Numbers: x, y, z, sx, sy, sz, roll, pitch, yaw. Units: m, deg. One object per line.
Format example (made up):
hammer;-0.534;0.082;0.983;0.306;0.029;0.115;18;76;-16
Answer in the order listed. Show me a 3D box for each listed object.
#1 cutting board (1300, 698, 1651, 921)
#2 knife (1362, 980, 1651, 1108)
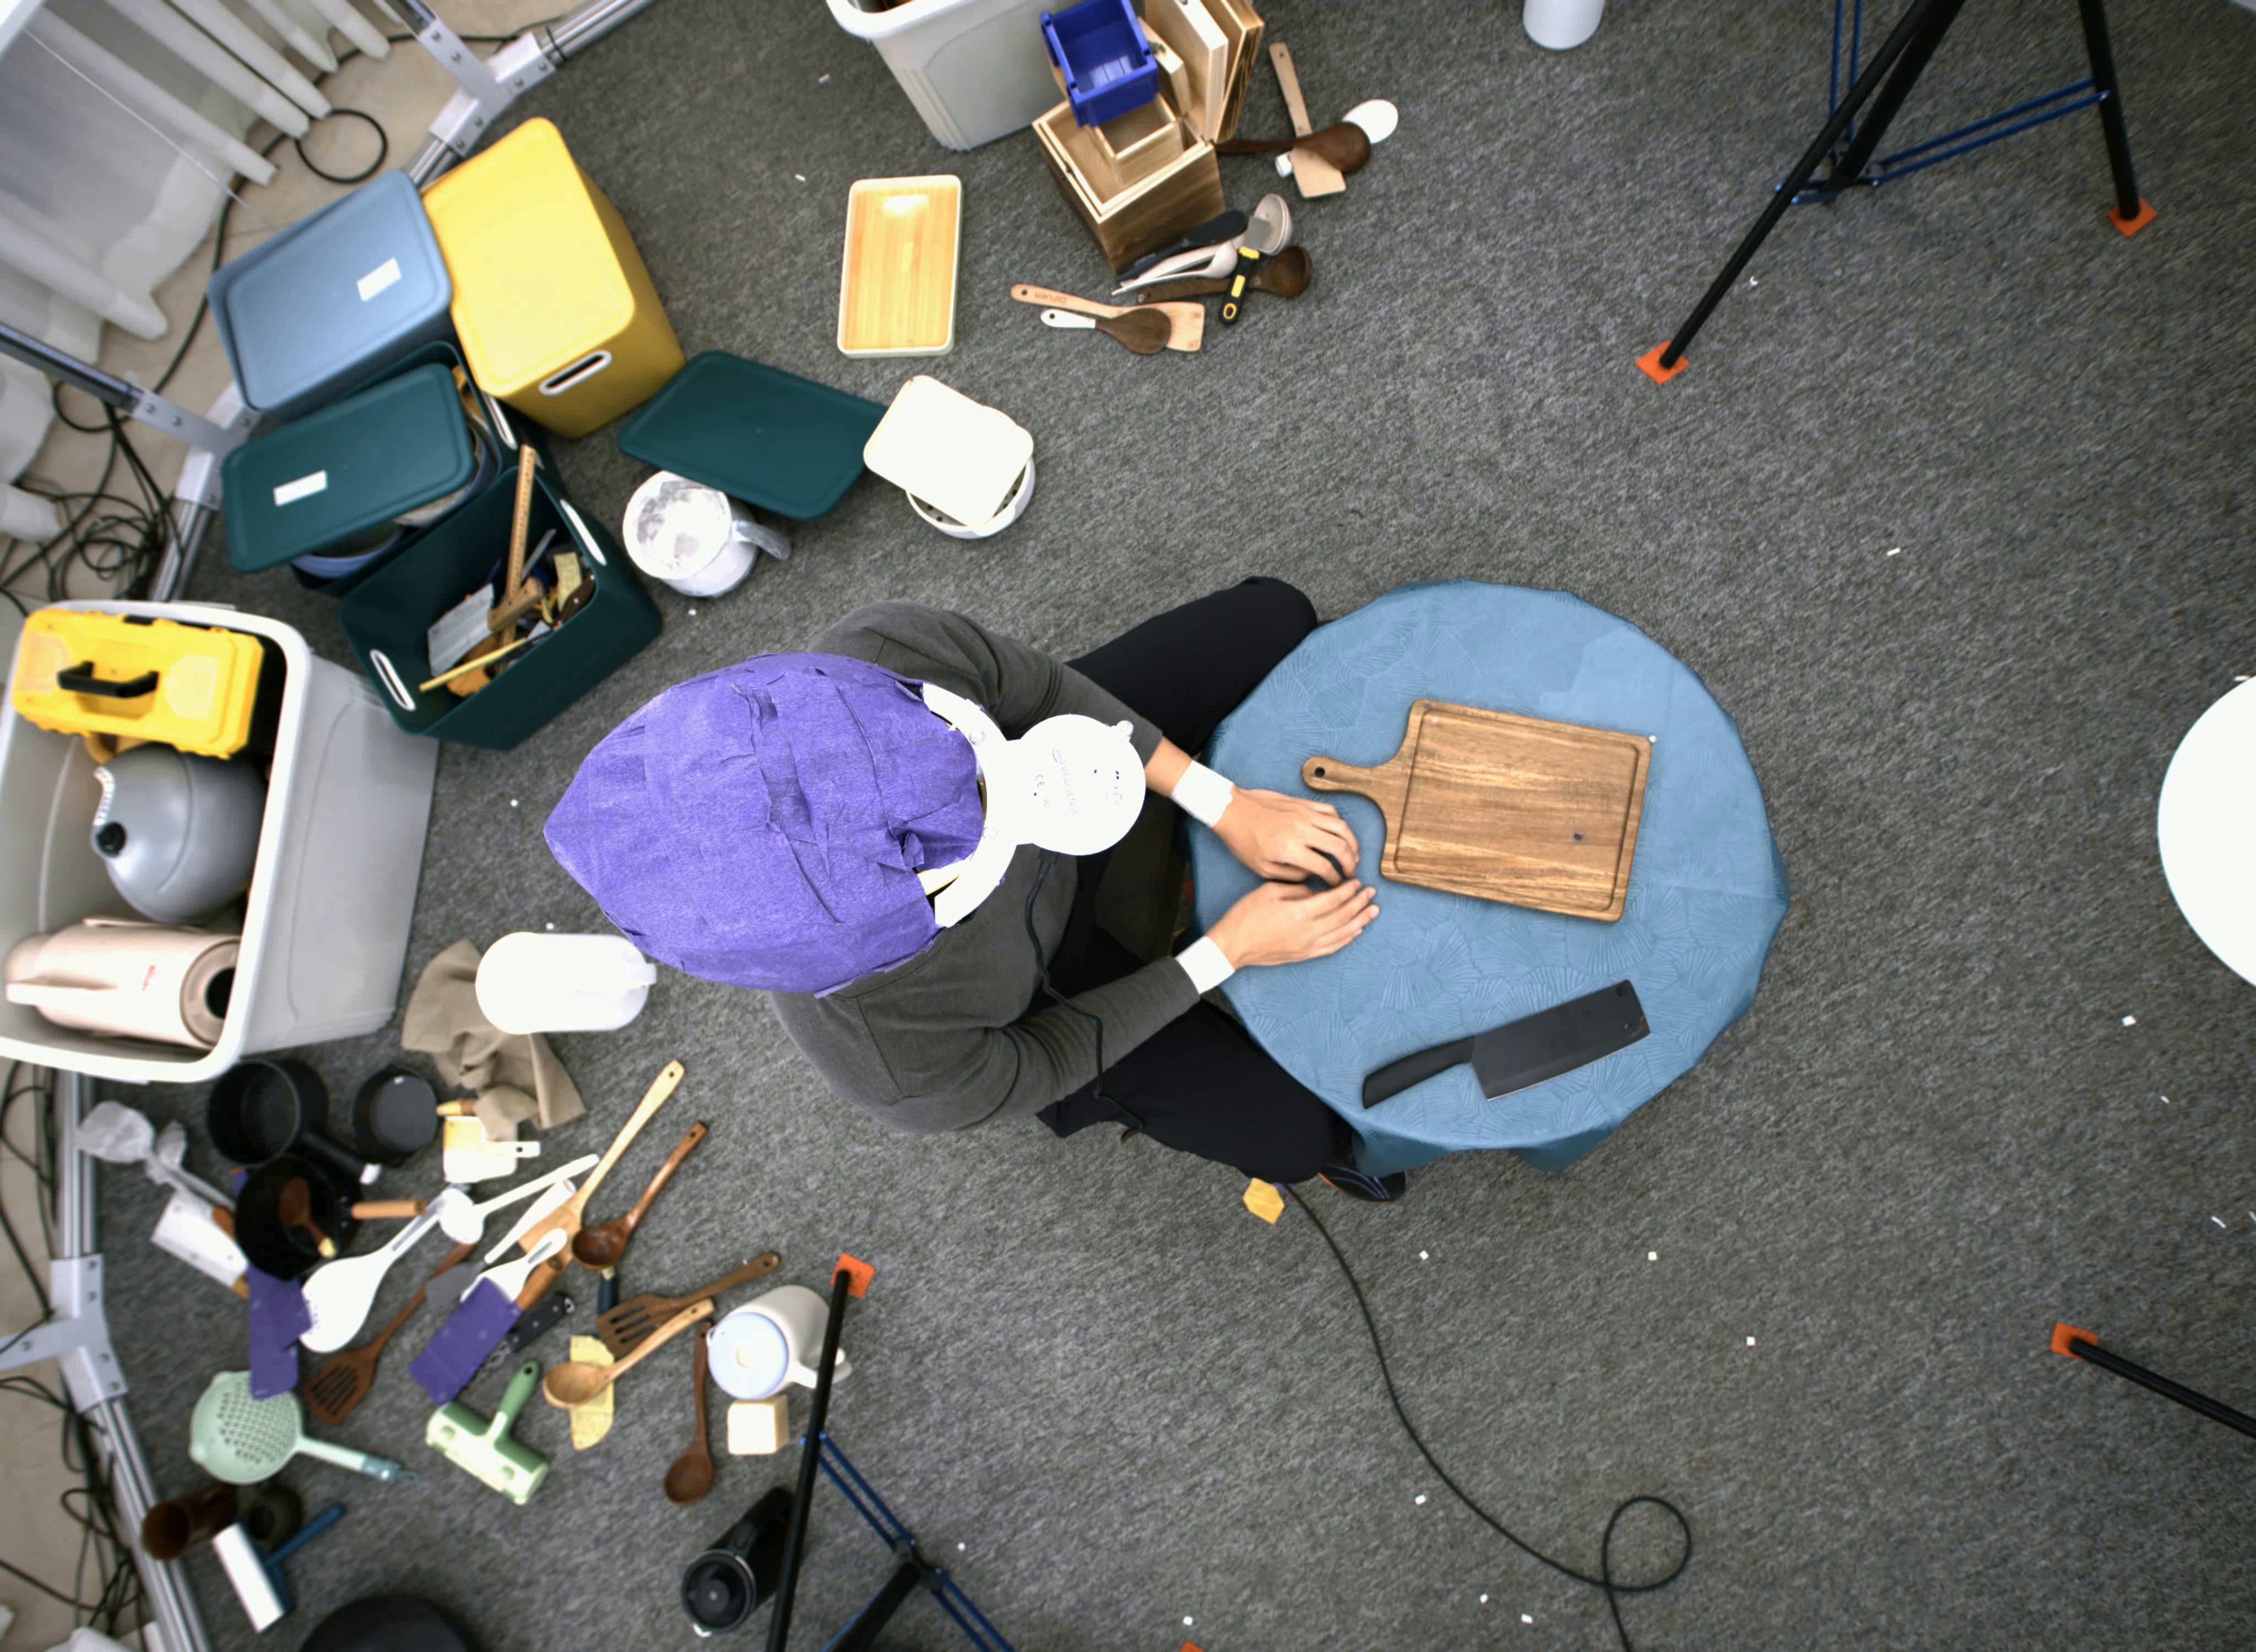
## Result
cutting board;0.355;-0.030;1.439;0.353;0.023;0.200;10;88;11
knife;0.386;0.234;1.422;0.304;0.021;0.080;-17;85;8
